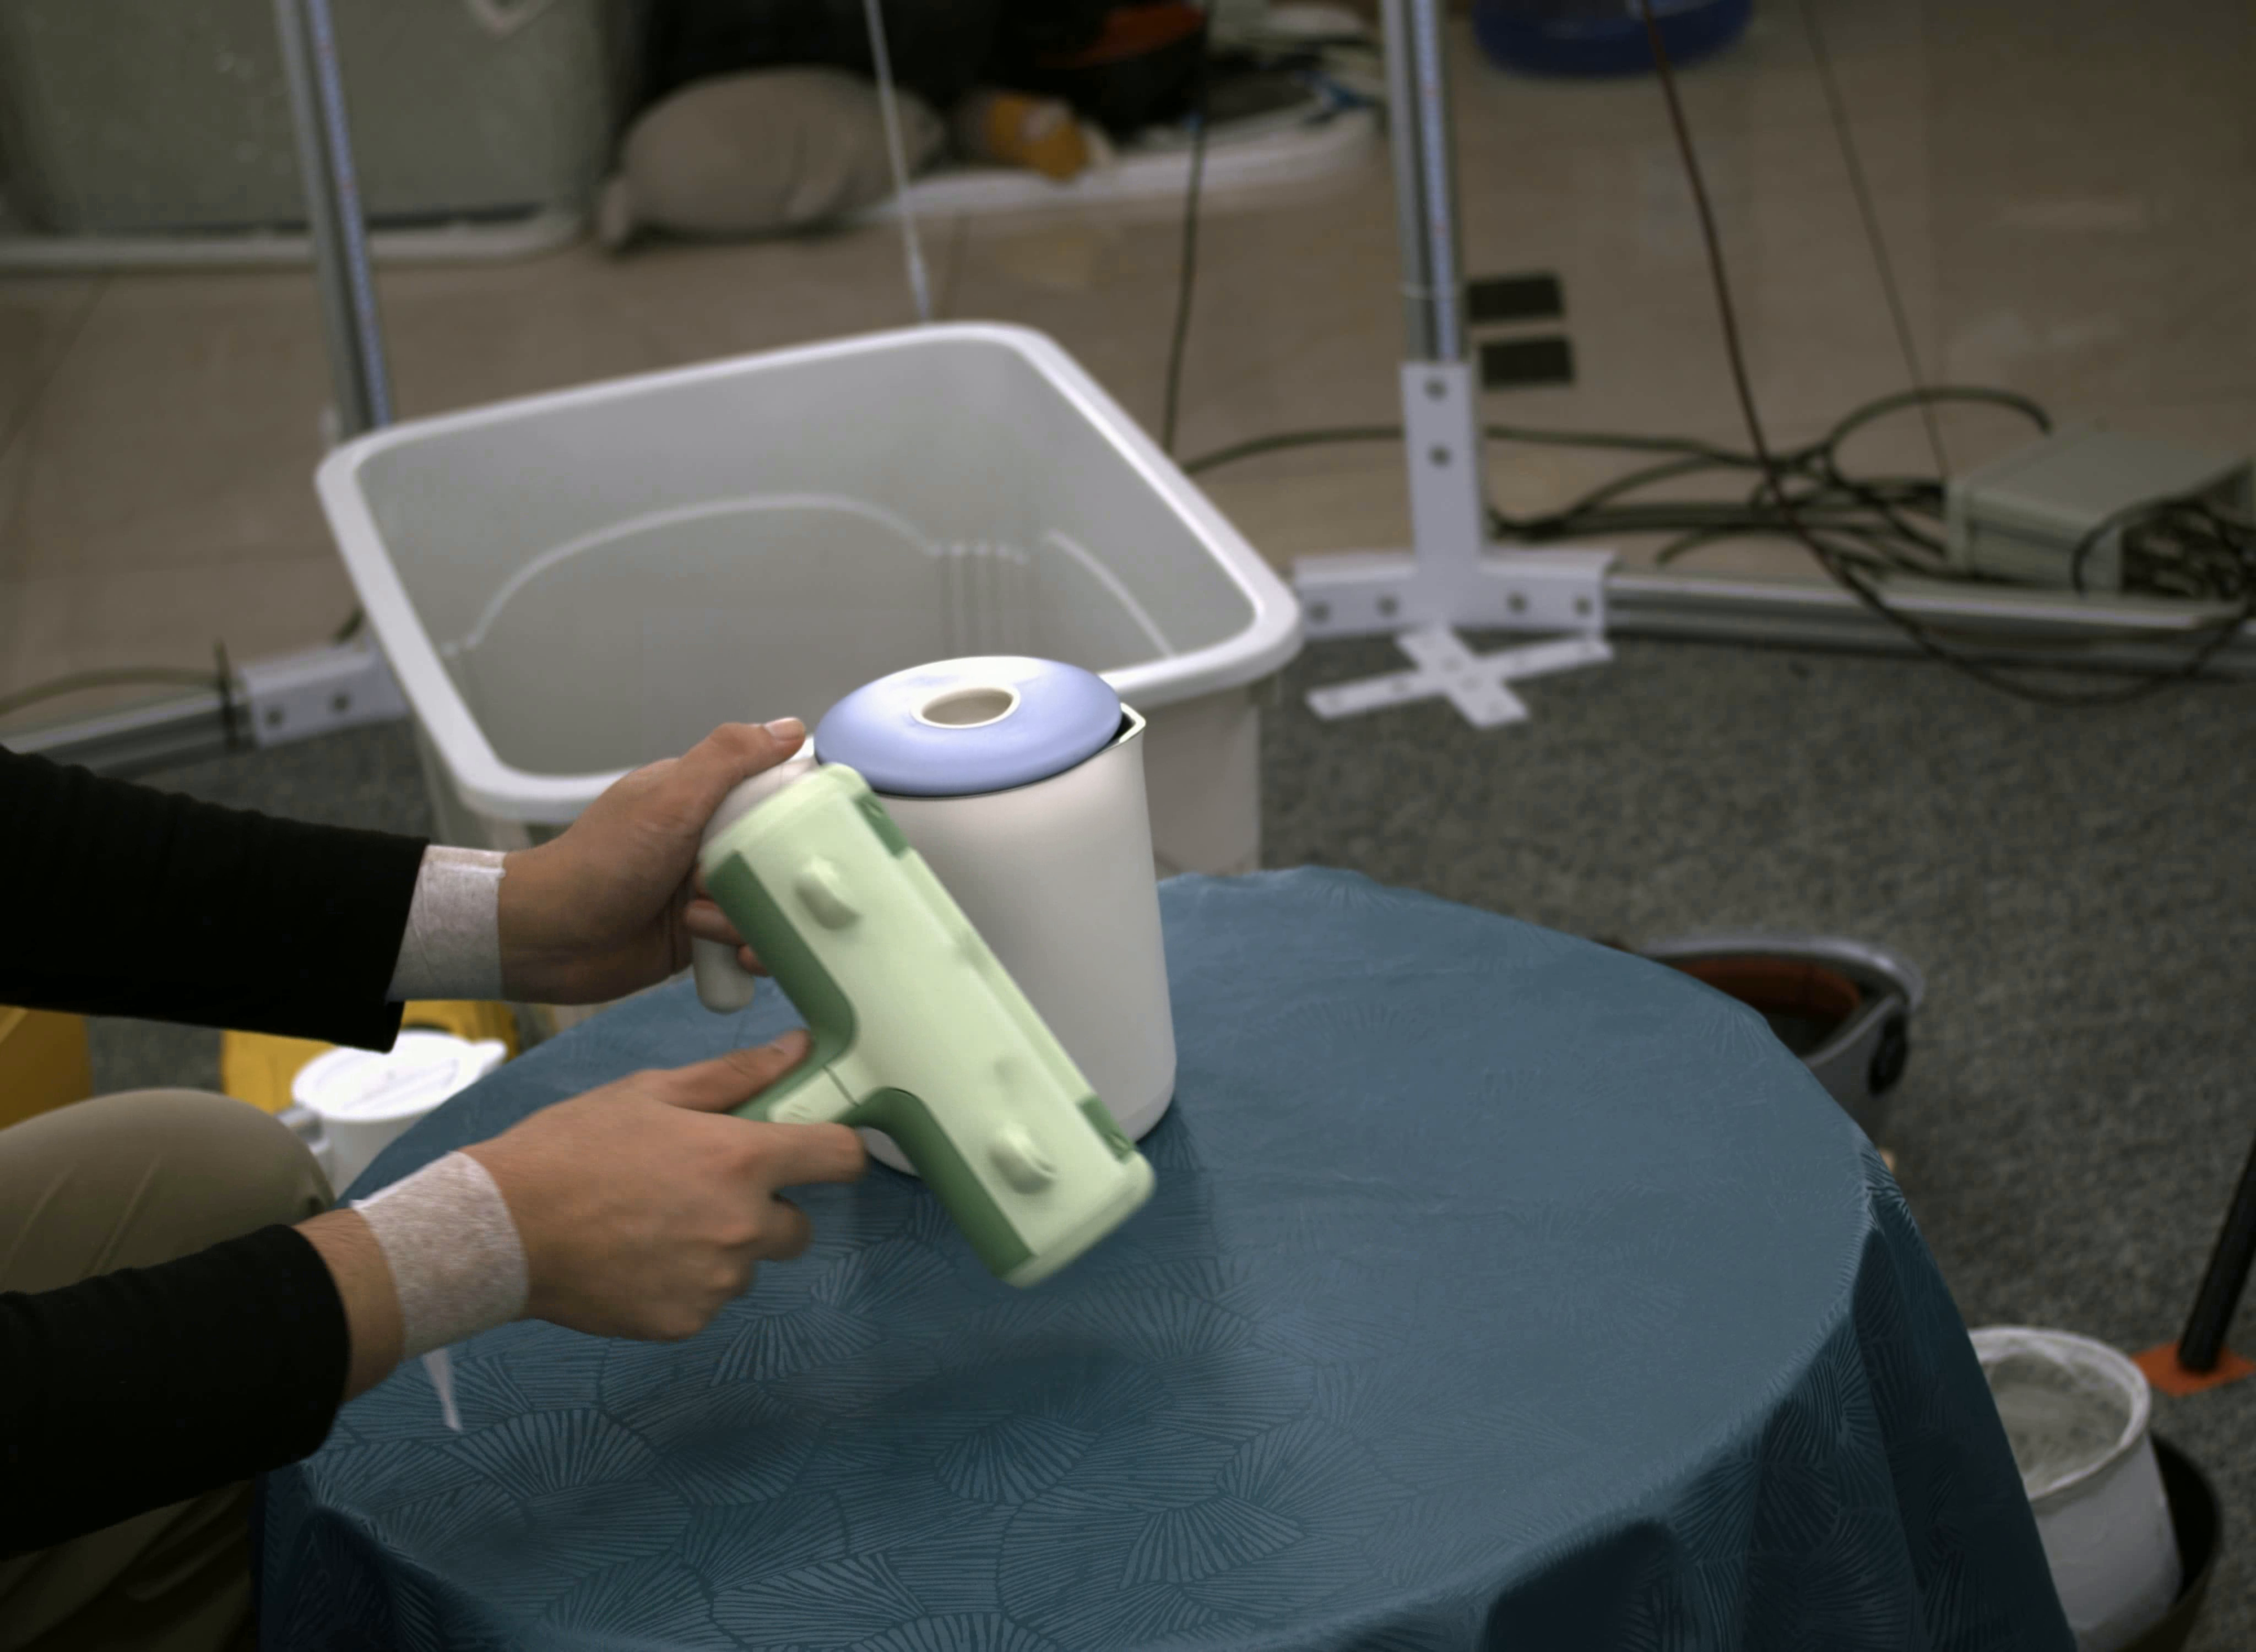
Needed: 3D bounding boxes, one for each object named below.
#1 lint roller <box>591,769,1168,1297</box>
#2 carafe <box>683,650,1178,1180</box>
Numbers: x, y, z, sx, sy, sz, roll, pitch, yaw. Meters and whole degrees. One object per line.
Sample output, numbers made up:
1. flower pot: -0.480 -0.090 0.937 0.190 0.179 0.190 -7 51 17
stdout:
1. lint roller: -0.109 0.103 1.993 0.182 0.198 0.083 -36 -2 -21
2. carafe: -0.077 0.036 2.180 0.191 0.185 0.130 -4 25 8
